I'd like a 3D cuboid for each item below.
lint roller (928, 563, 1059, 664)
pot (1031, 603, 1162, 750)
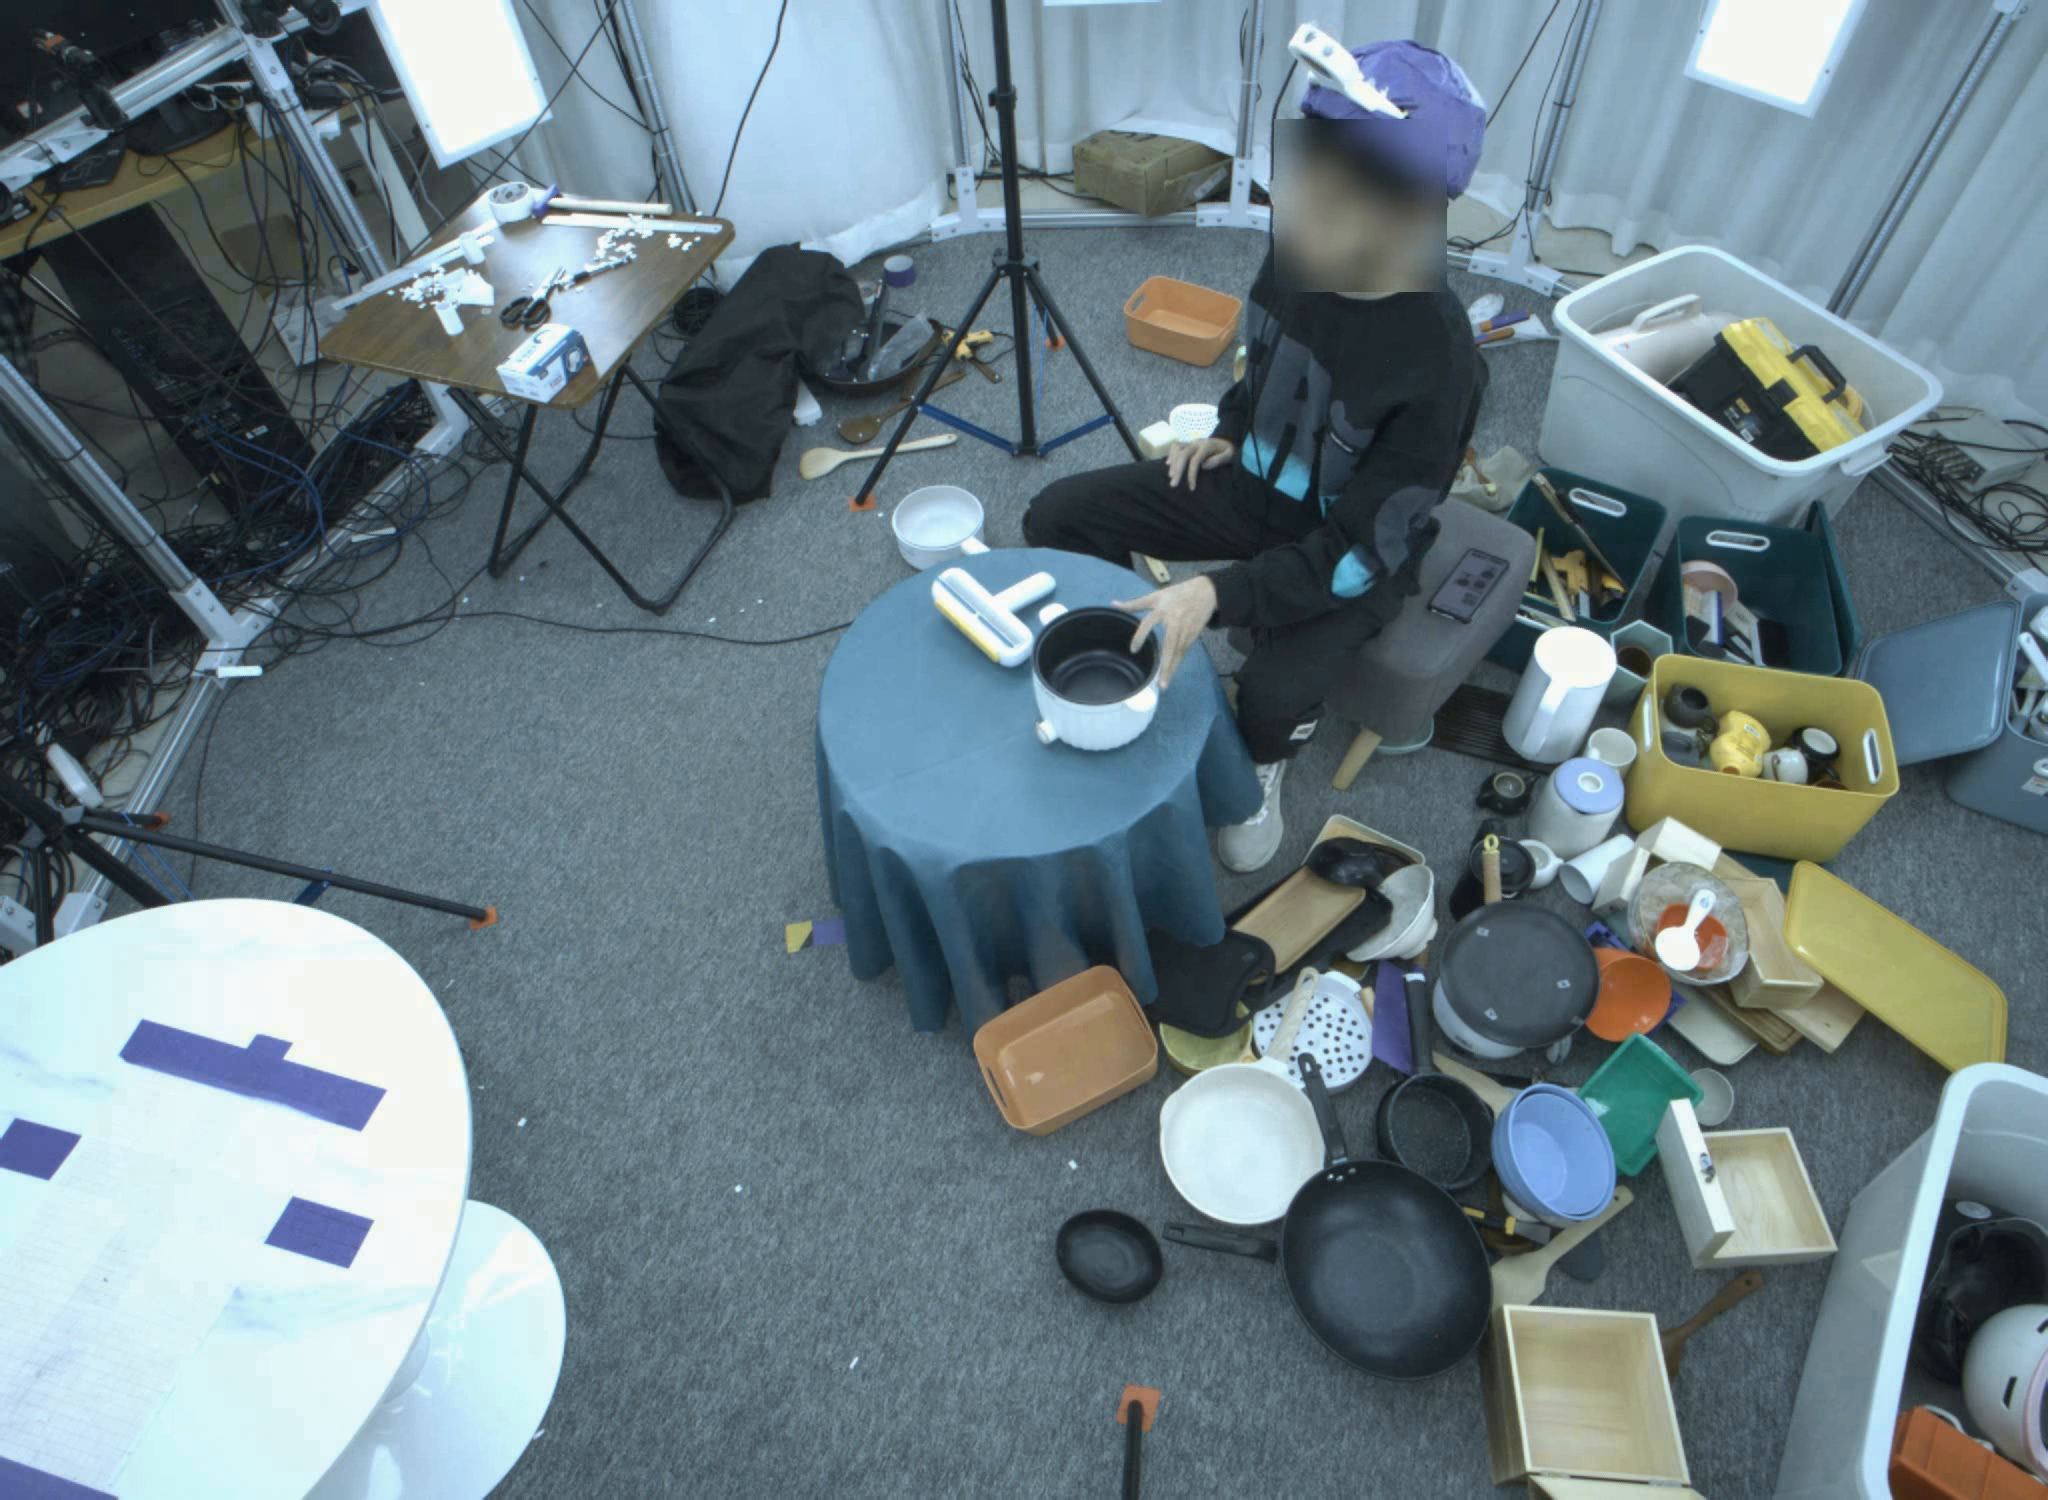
[{"bbox_3d":[-0.026,-0.235,1.909,0.194,0.075,0.190,-35,66,-23],"label":"lint roller"},{"bbox_3d":[0.100,-0.093,1.759,0.192,0.144,0.236,-31,58,-21],"label":"pot"}]
